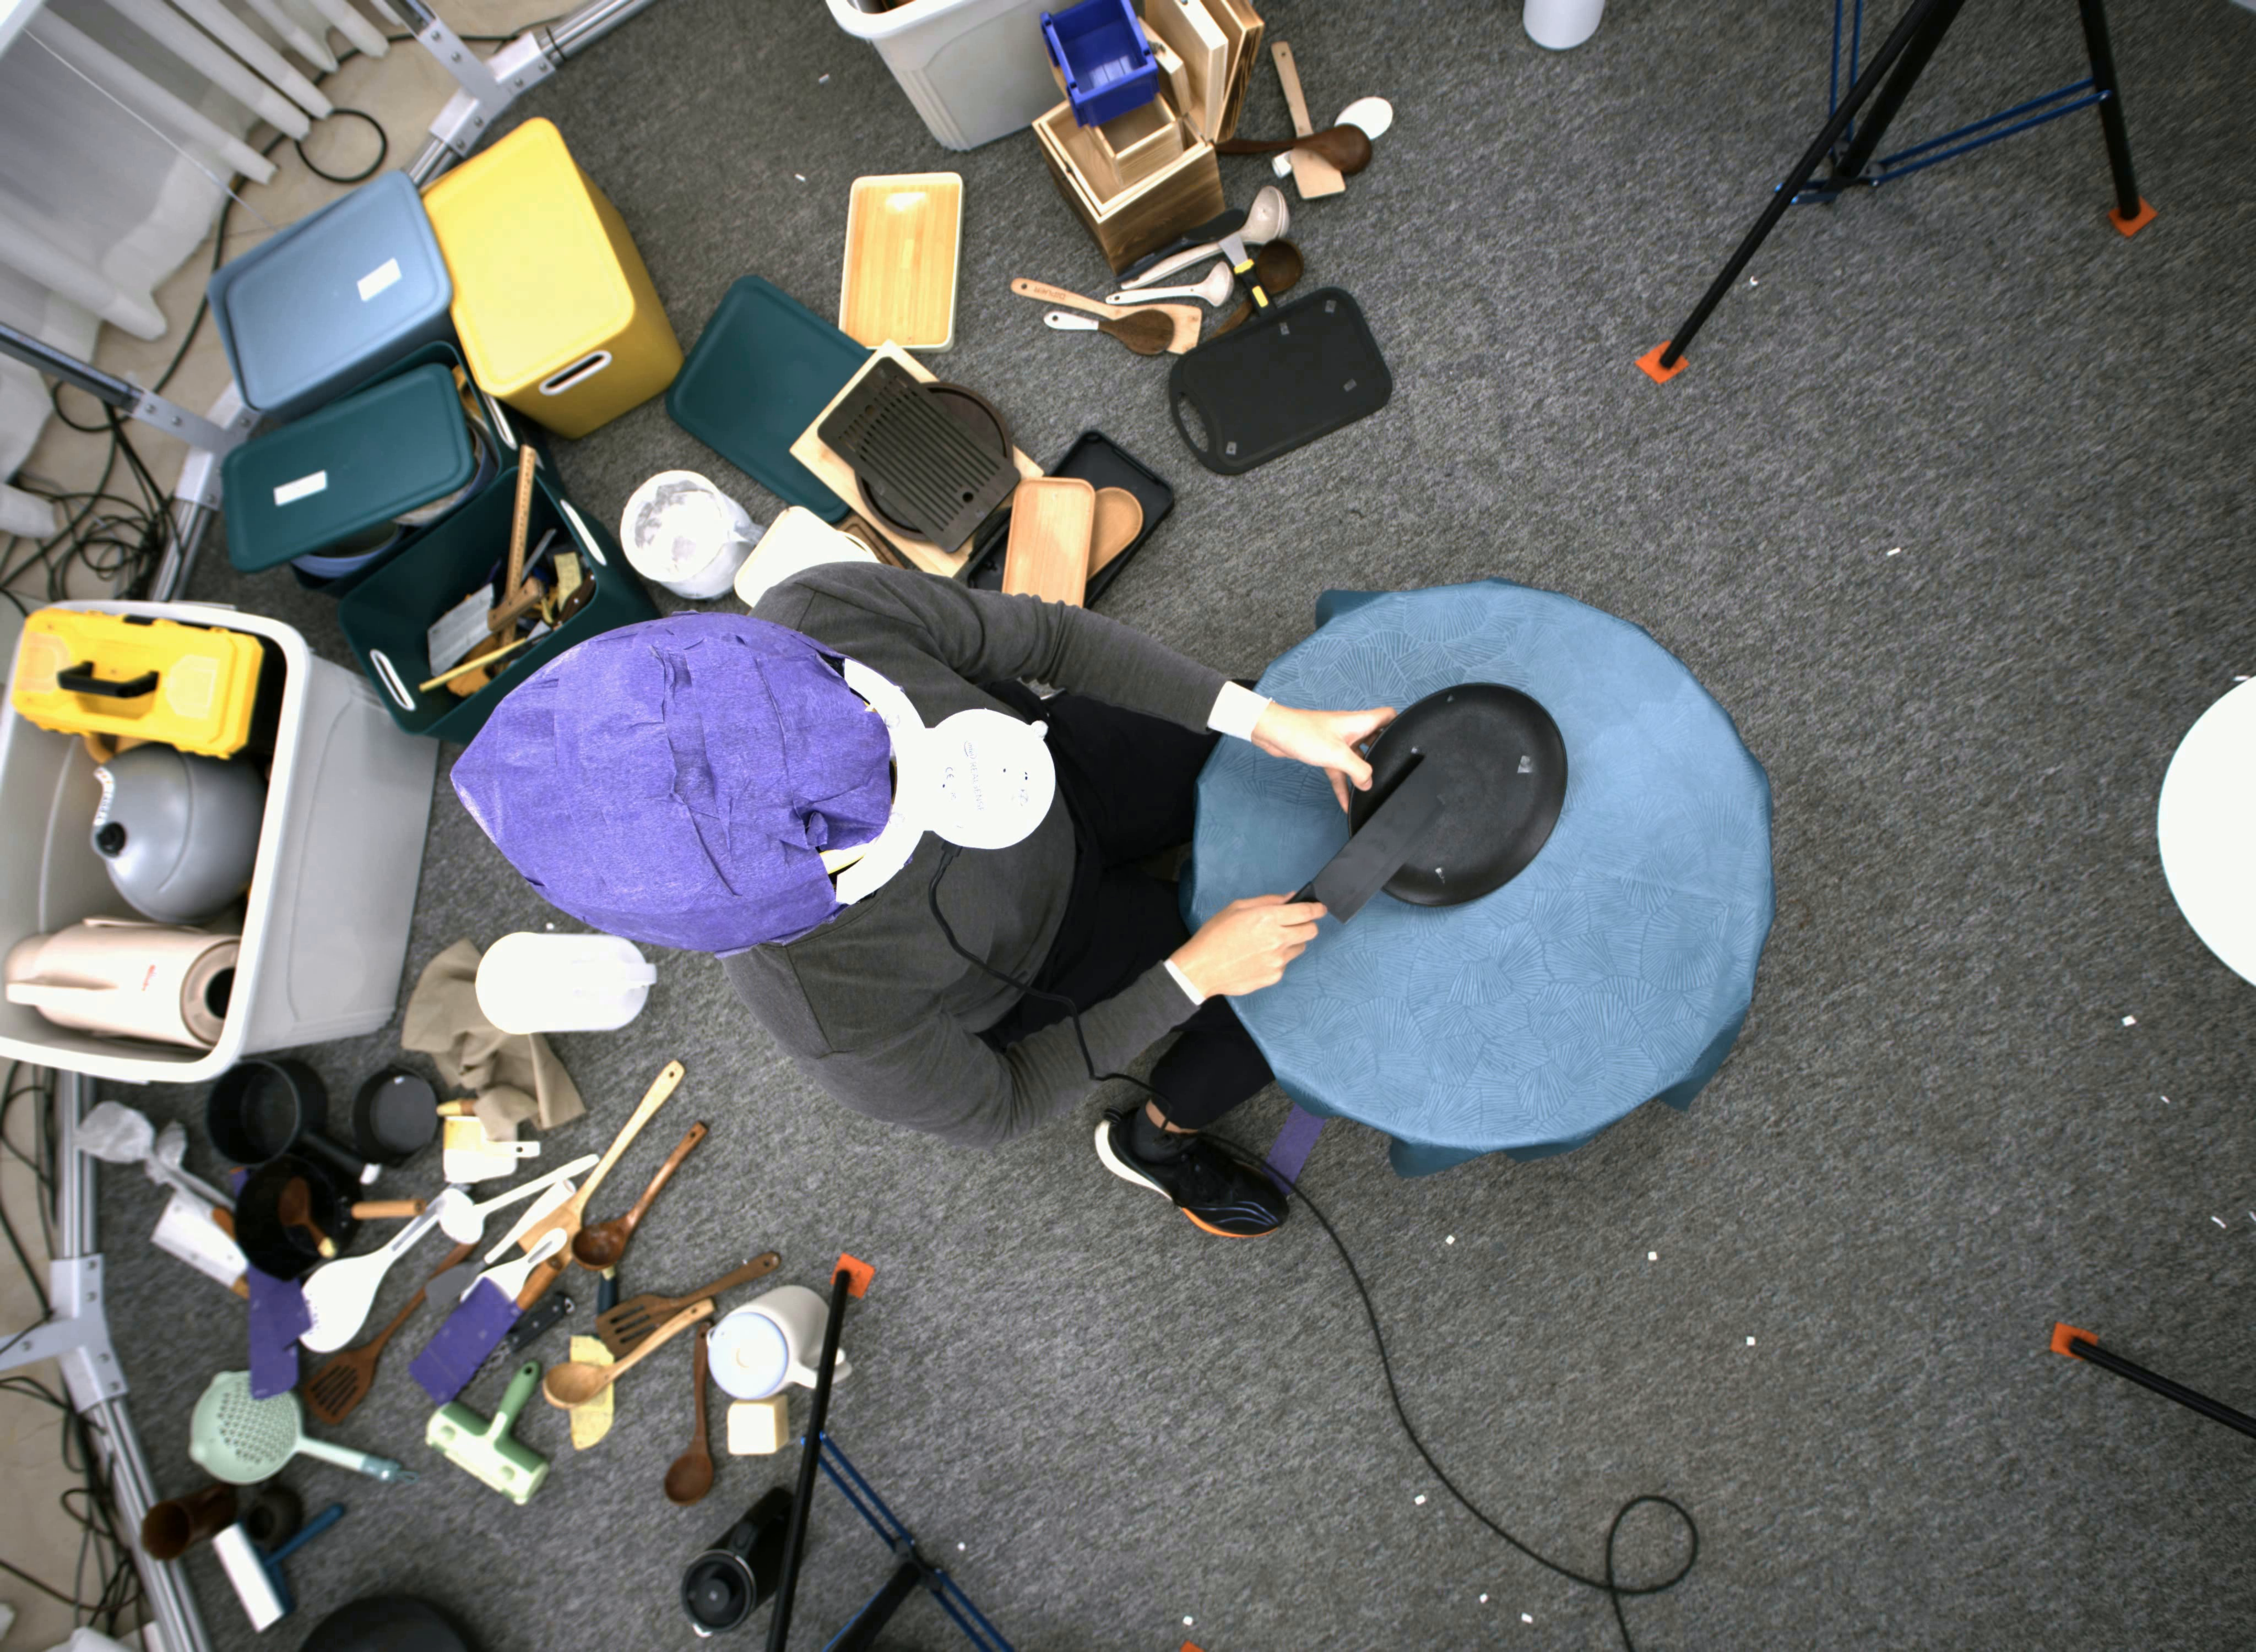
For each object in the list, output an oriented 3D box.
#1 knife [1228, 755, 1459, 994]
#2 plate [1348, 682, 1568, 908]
[{"bbox_3d":[0.212,0.054,1.379,0.304,0.020,0.082,-45,118,7],"label":"knife"},{"bbox_3d":[0.330,-0.033,1.383,0.243,0.023,0.249,-6,116,-13],"label":"plate"}]
